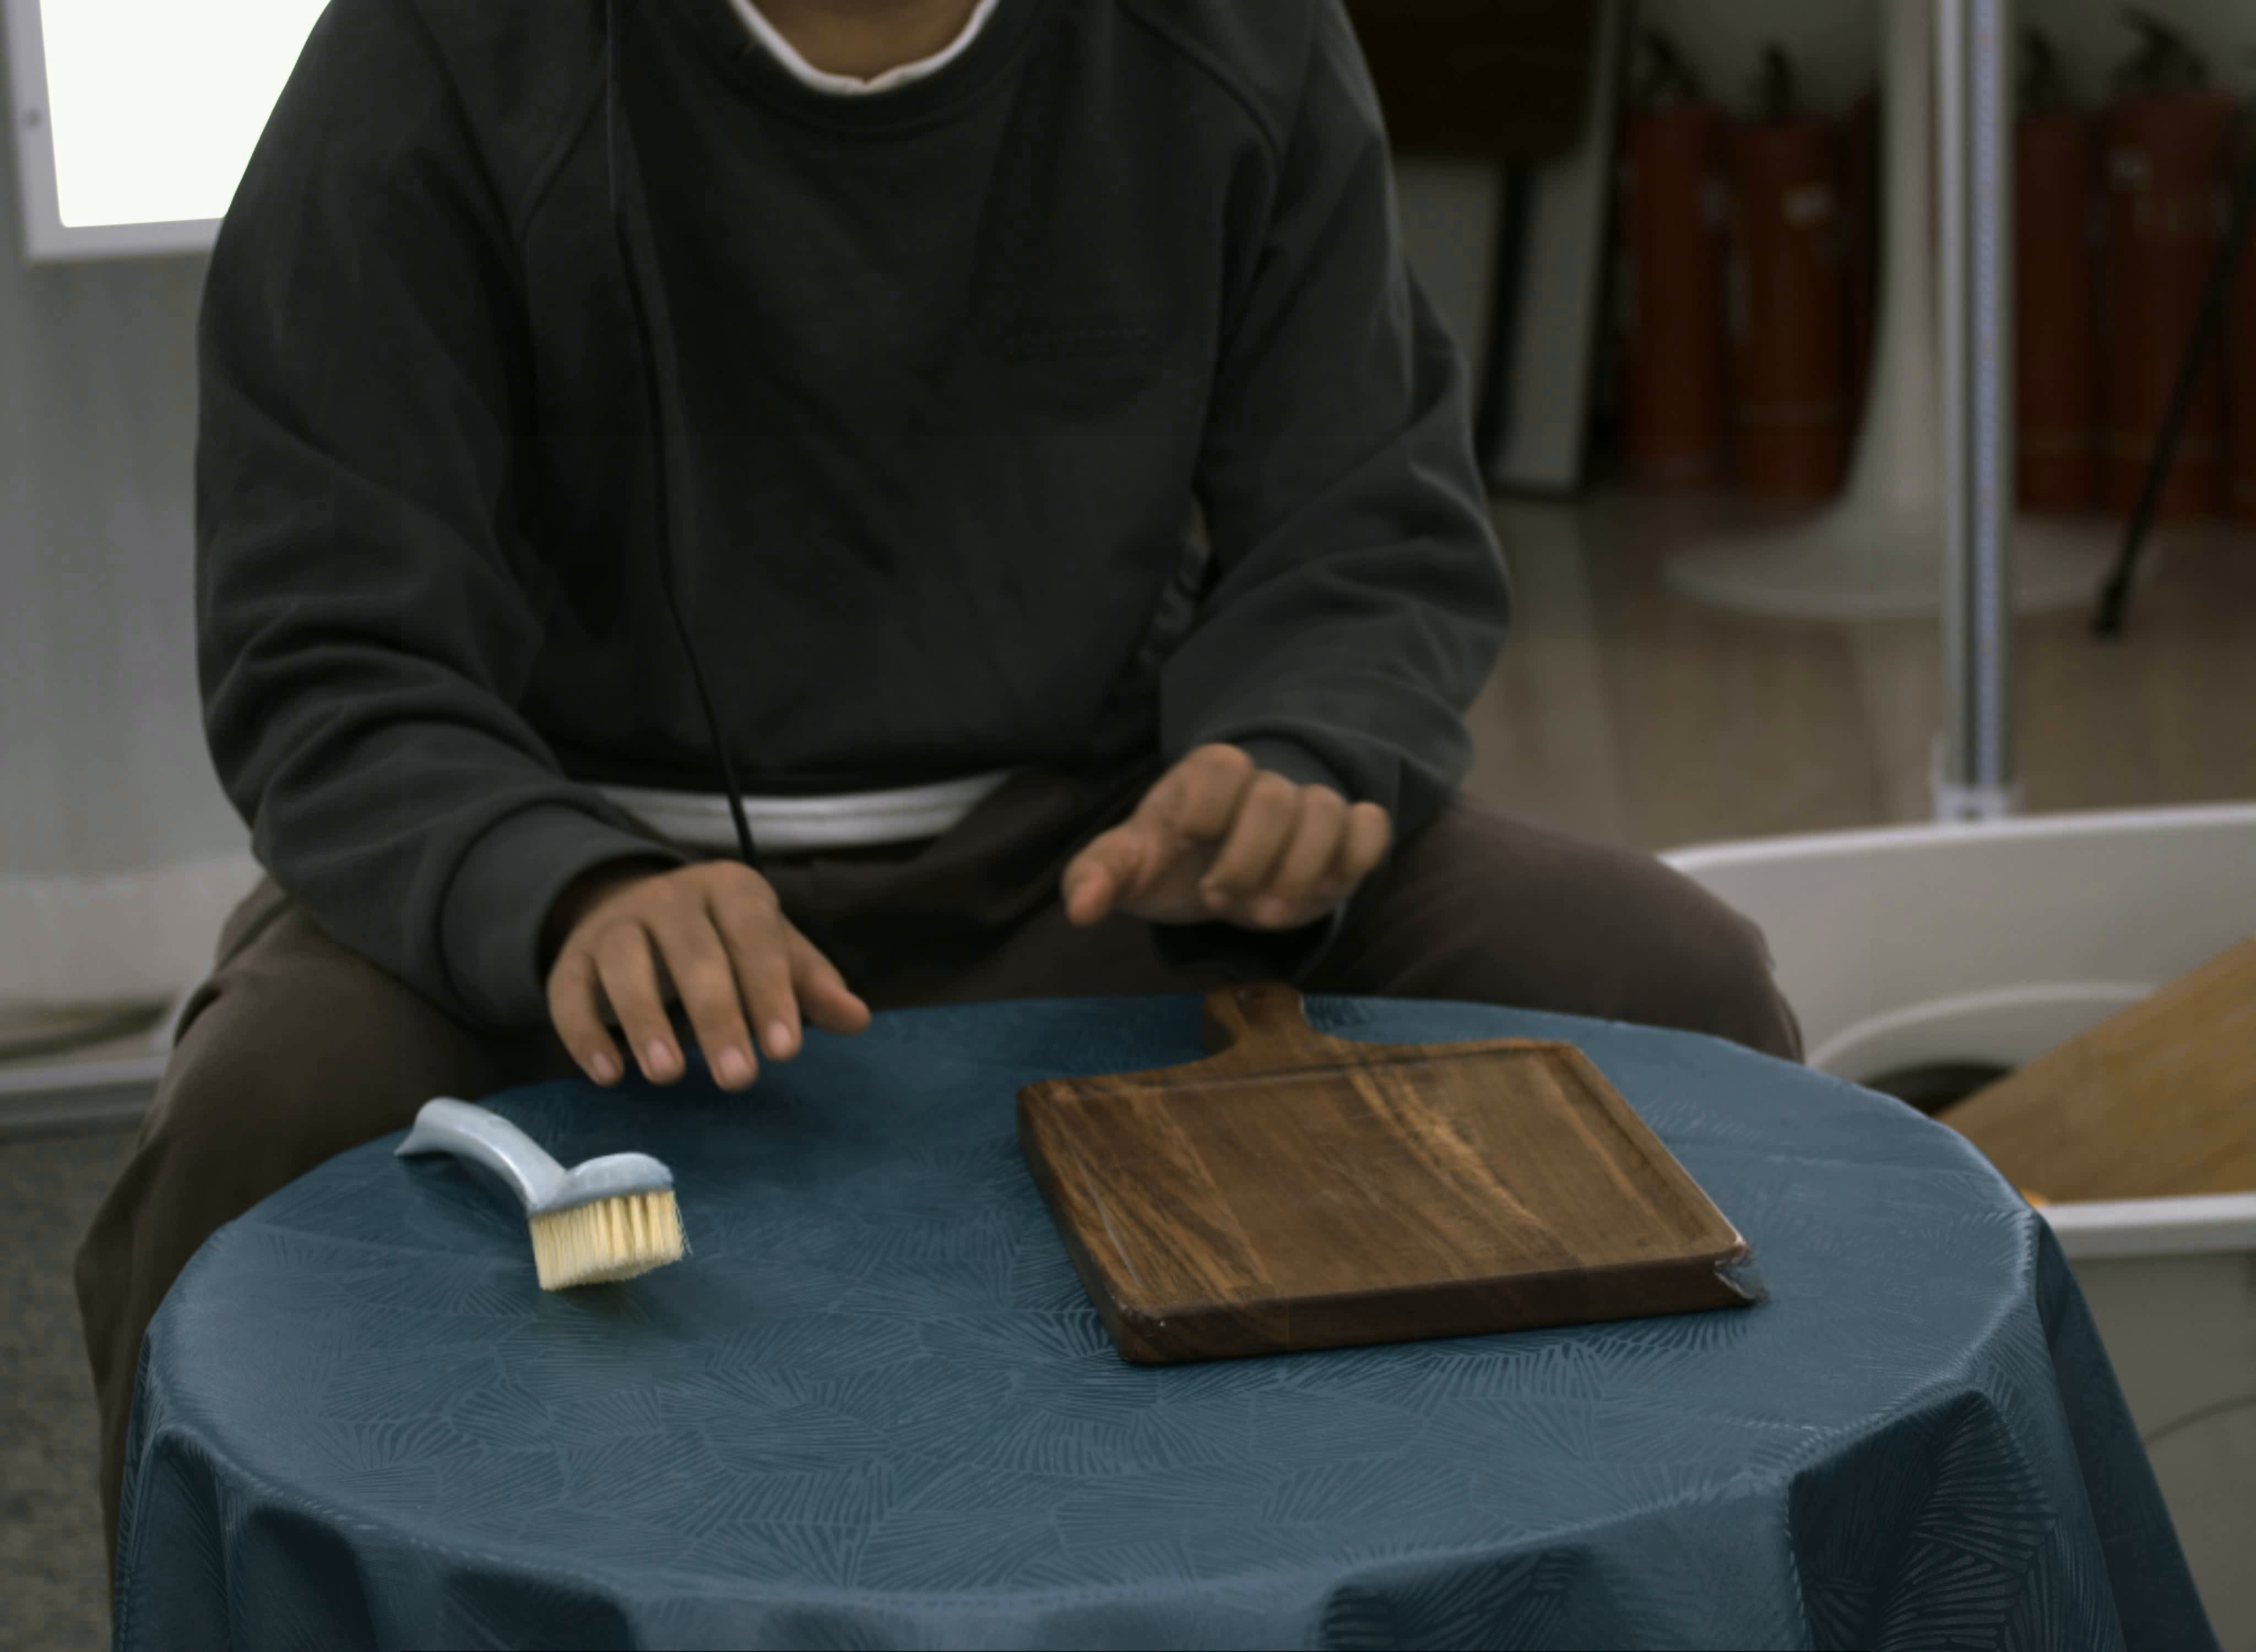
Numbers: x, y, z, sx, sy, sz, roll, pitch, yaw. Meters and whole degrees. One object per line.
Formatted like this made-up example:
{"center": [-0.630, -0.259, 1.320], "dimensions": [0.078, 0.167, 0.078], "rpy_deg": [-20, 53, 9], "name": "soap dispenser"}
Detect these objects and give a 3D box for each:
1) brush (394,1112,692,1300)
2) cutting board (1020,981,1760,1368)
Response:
{"center": [-0.195, 0.123, 1.758], "dimensions": [0.037, 0.050, 0.231], "rpy_deg": [-3, 3, -26], "name": "brush"}
{"center": [0.071, 0.105, 1.777], "dimensions": [0.198, 0.023, 0.354], "rpy_deg": [-5, 14, -7], "name": "cutting board"}
